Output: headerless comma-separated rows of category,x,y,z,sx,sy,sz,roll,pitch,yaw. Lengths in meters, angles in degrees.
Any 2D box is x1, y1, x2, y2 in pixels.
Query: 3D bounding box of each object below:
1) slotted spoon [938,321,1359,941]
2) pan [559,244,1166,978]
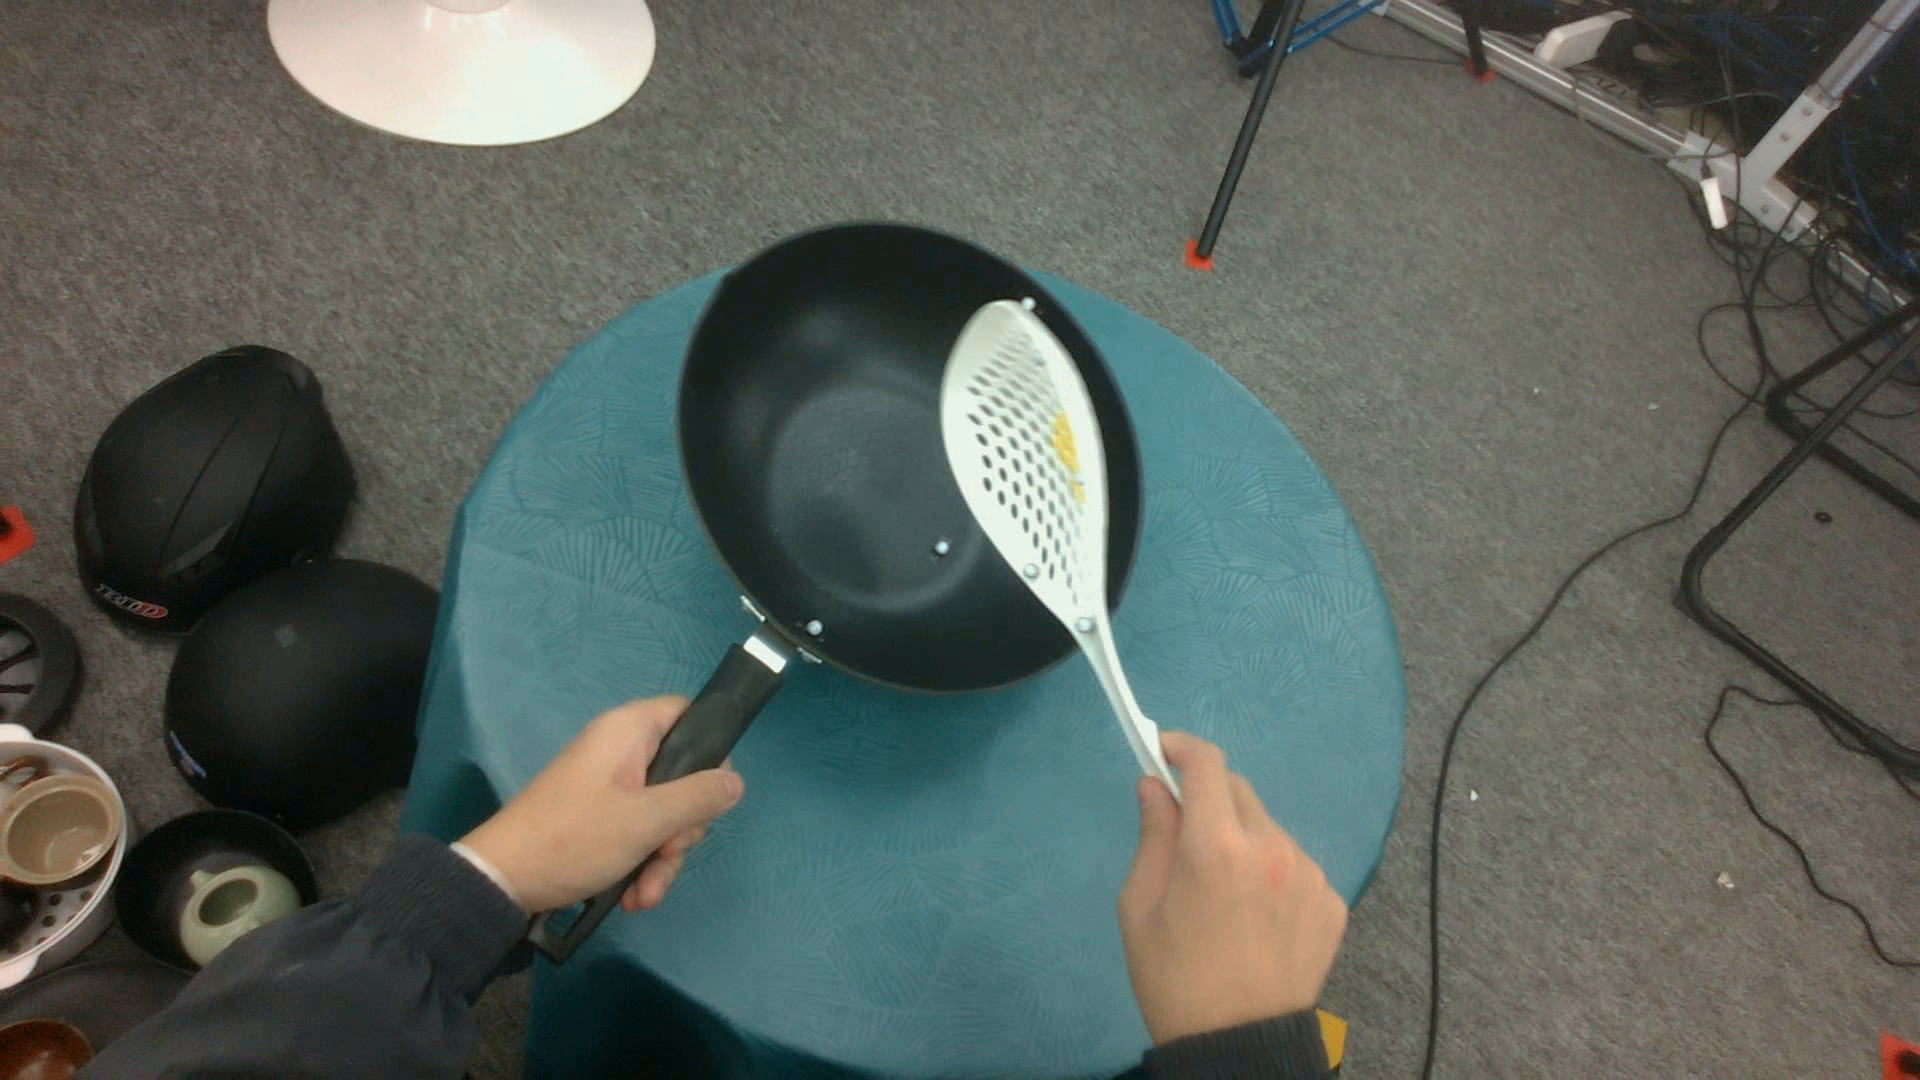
slotted spoon,0.087,0.044,0.681,0.050,0.136,0.348,-16,69,-24
pan,-0.067,0.039,0.768,0.288,0.086,0.465,37,63,-7
